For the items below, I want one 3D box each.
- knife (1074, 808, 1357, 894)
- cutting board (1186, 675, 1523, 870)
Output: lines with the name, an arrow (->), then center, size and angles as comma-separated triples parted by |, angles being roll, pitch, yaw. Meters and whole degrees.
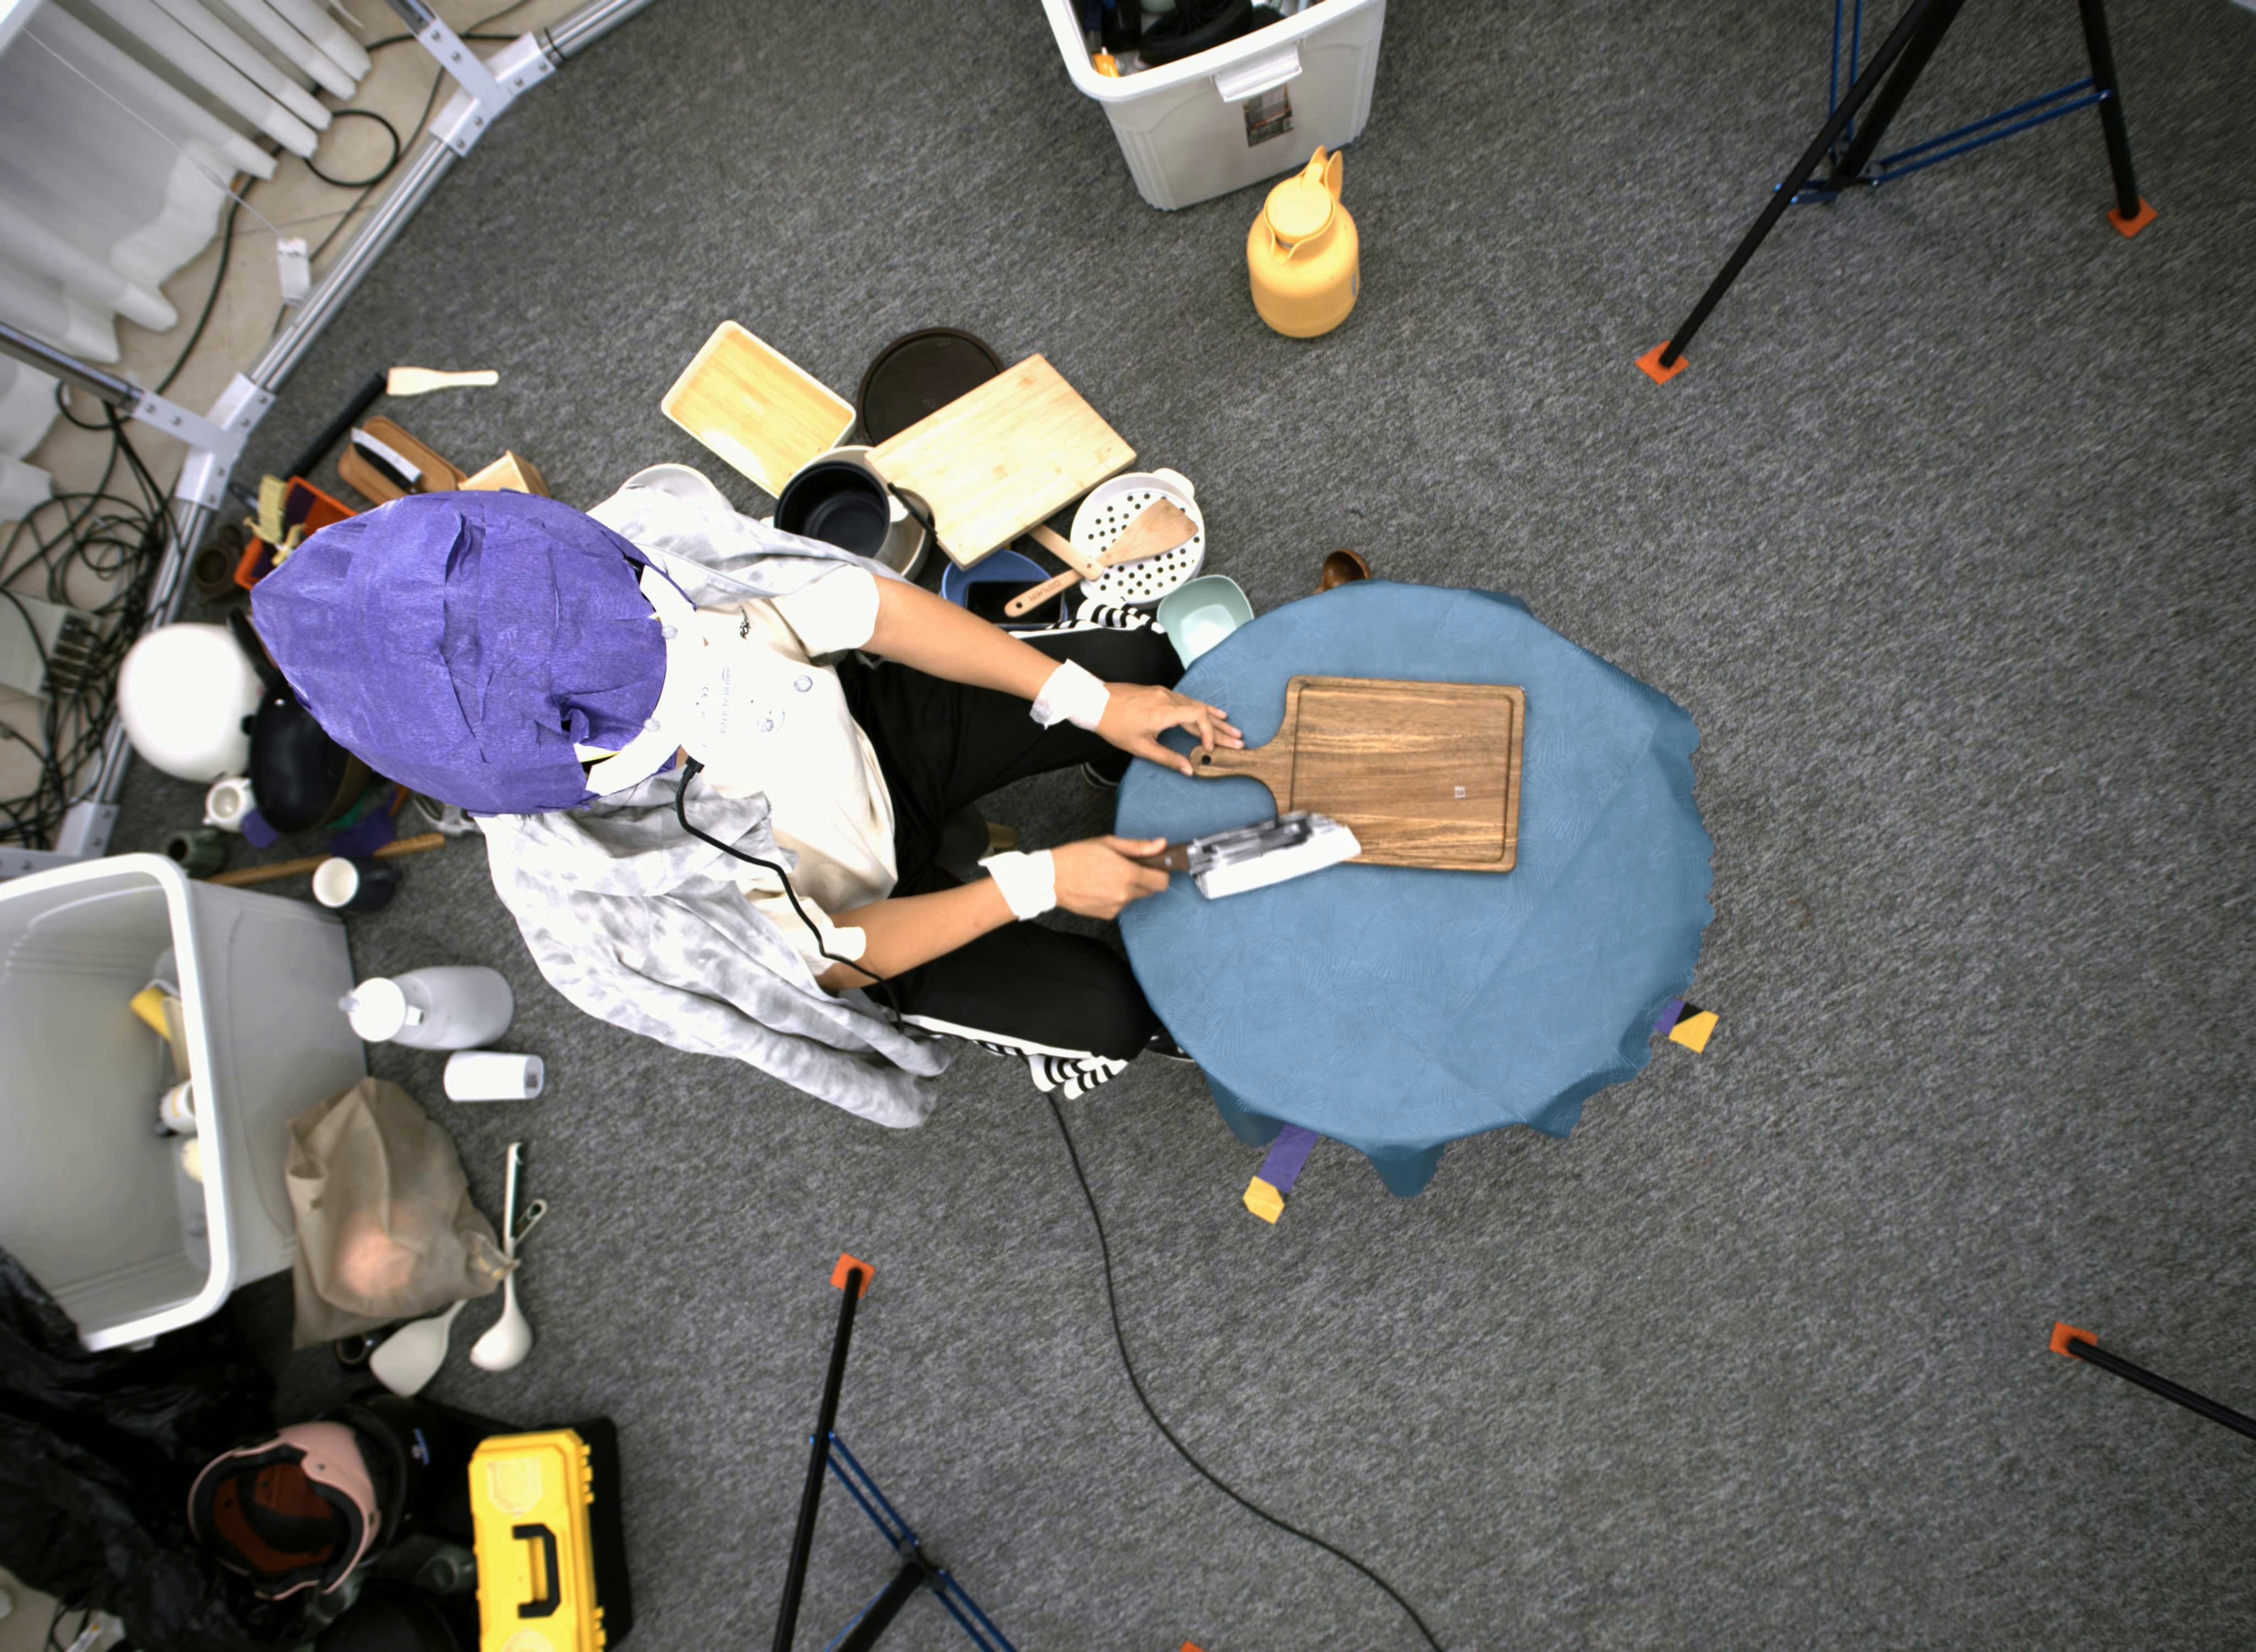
knife -> 0.091, 0.035, 1.466 | 0.301, 0.023, 0.069 | -15, 107, 11
cutting board -> 0.236, -0.062, 1.461 | 0.353, 0.023, 0.200 | 3, 88, 11
